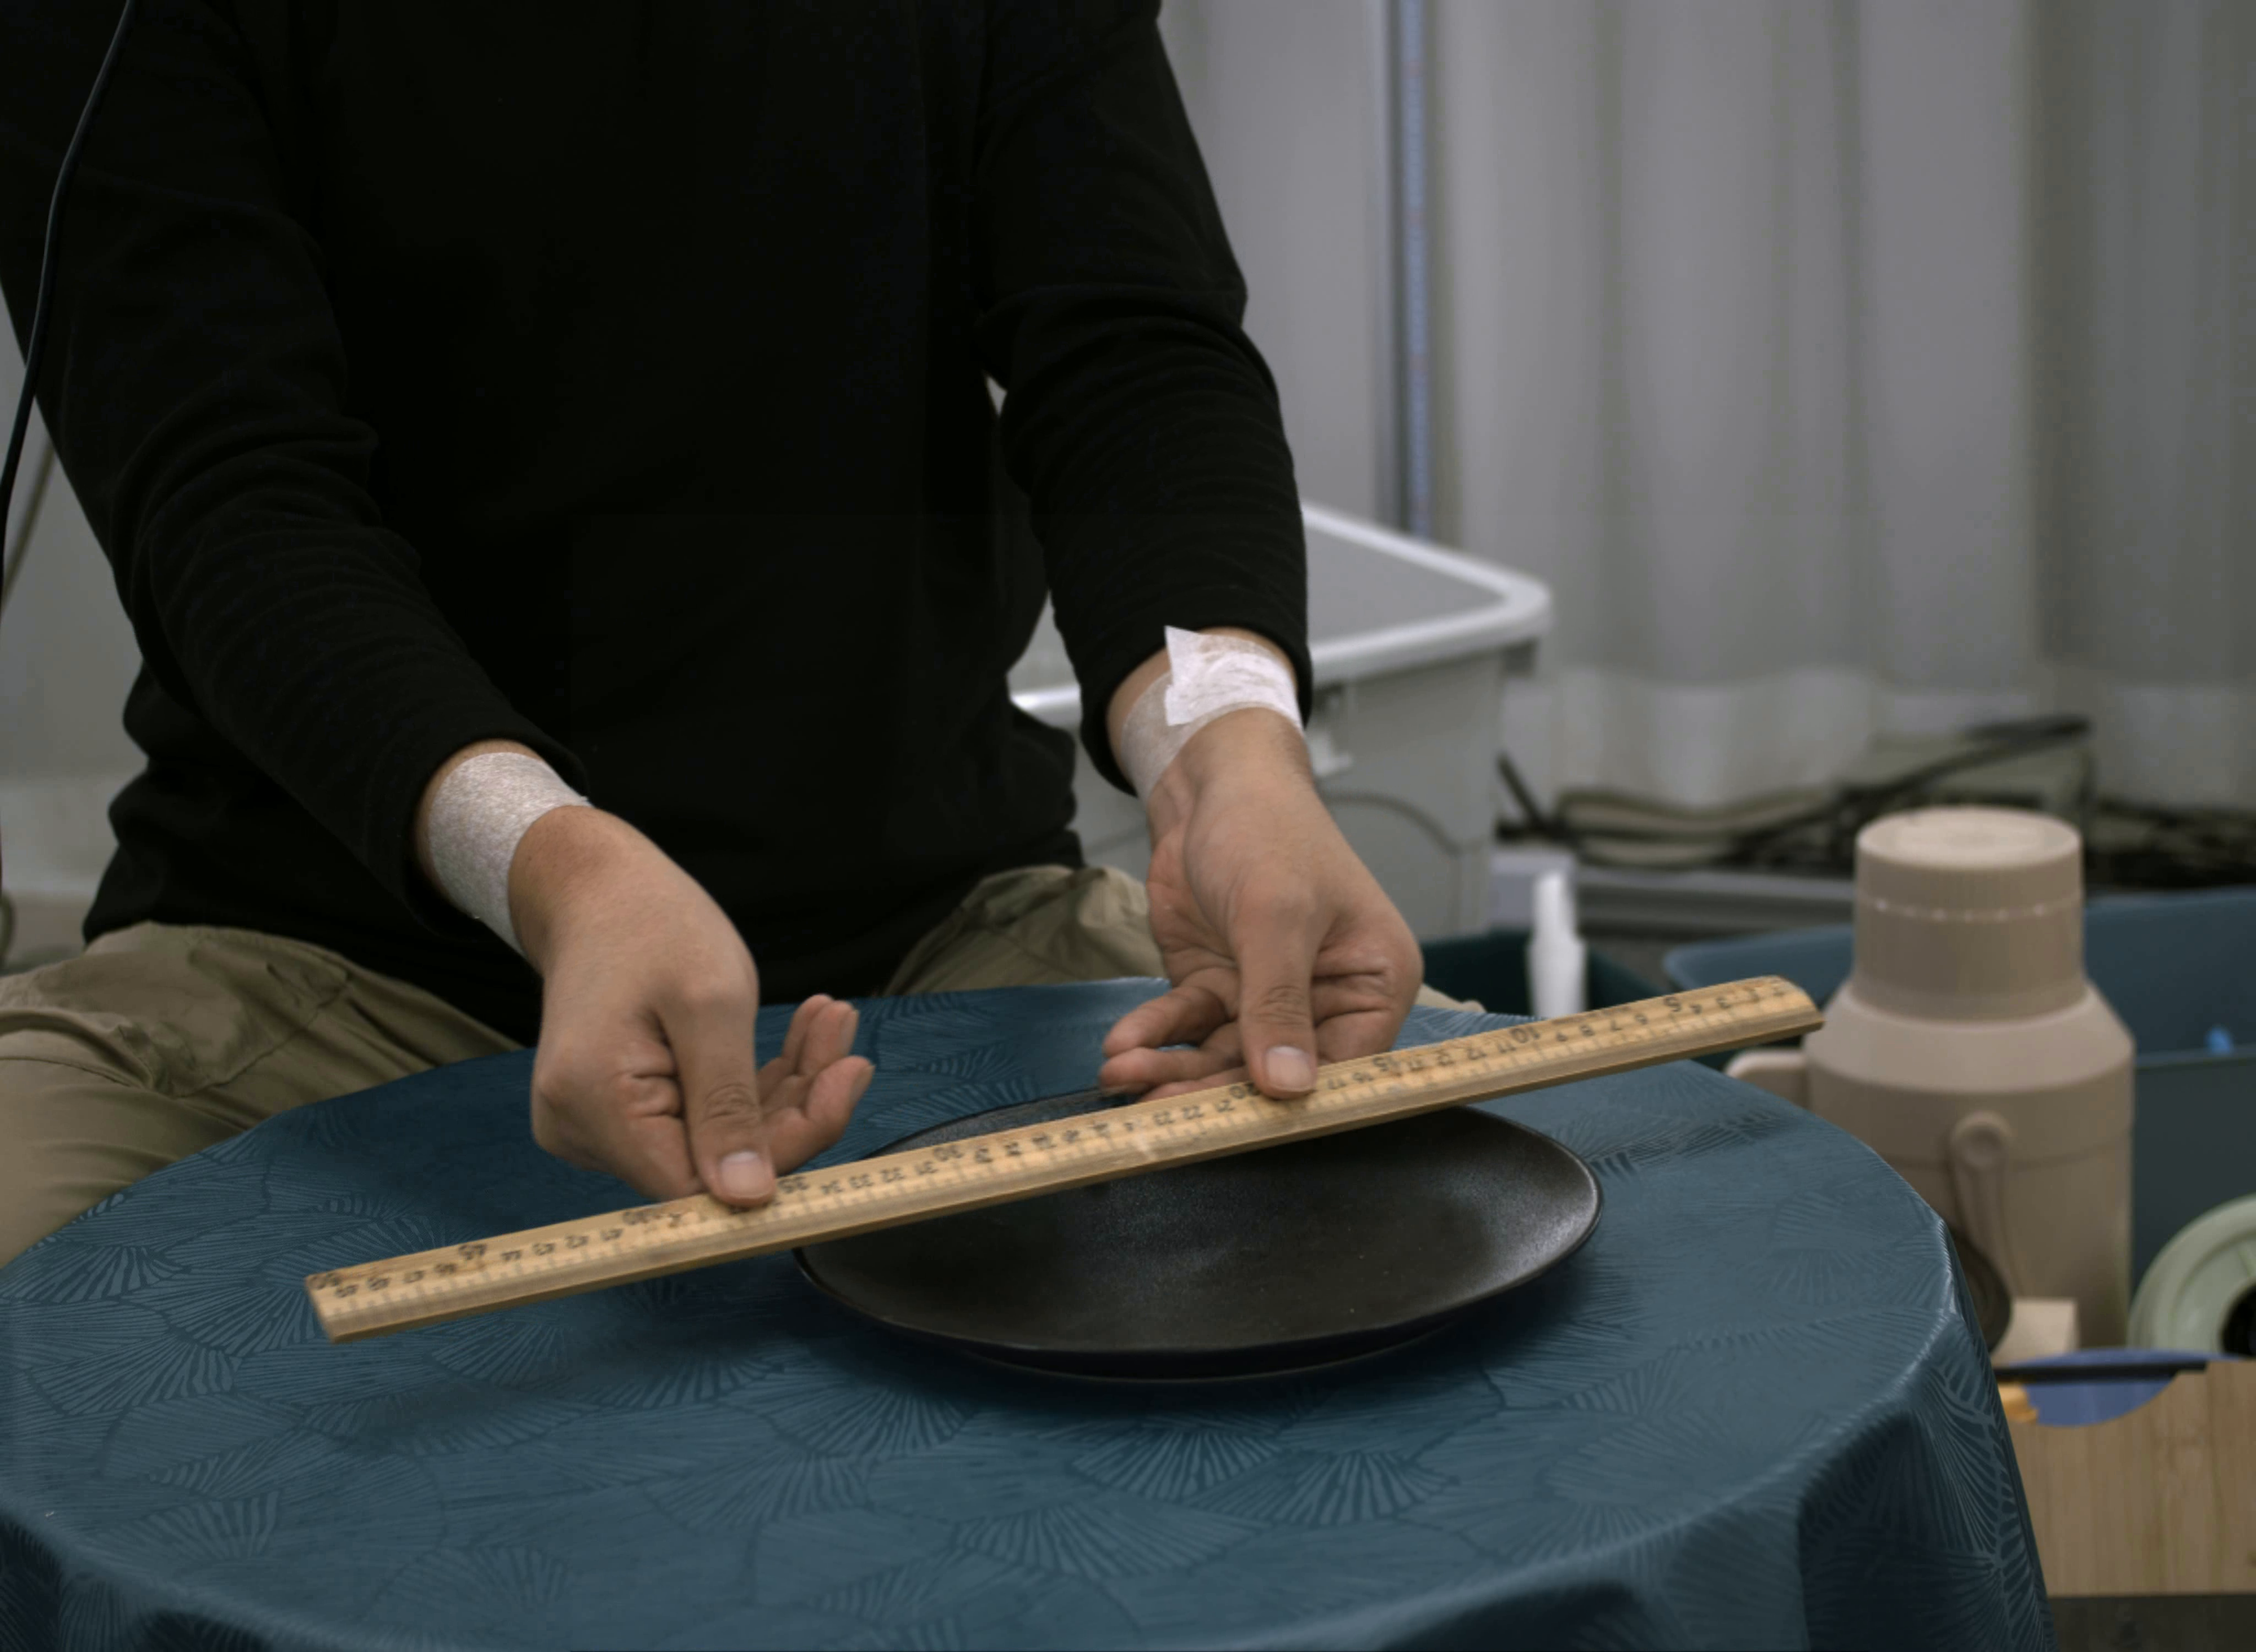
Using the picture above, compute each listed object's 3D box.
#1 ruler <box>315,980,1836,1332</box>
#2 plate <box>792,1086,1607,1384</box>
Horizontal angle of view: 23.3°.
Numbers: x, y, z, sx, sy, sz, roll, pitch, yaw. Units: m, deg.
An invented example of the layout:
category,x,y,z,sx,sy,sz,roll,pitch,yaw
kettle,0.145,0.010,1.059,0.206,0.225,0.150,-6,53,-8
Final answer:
category,x,y,z,sx,sy,sz,roll,pitch,yaw
ruler,-0.004,0.095,1.646,0.498,0.006,0.027,-10,43,-24
plate,0.022,0.123,1.630,0.243,0.023,0.246,-3,15,0
